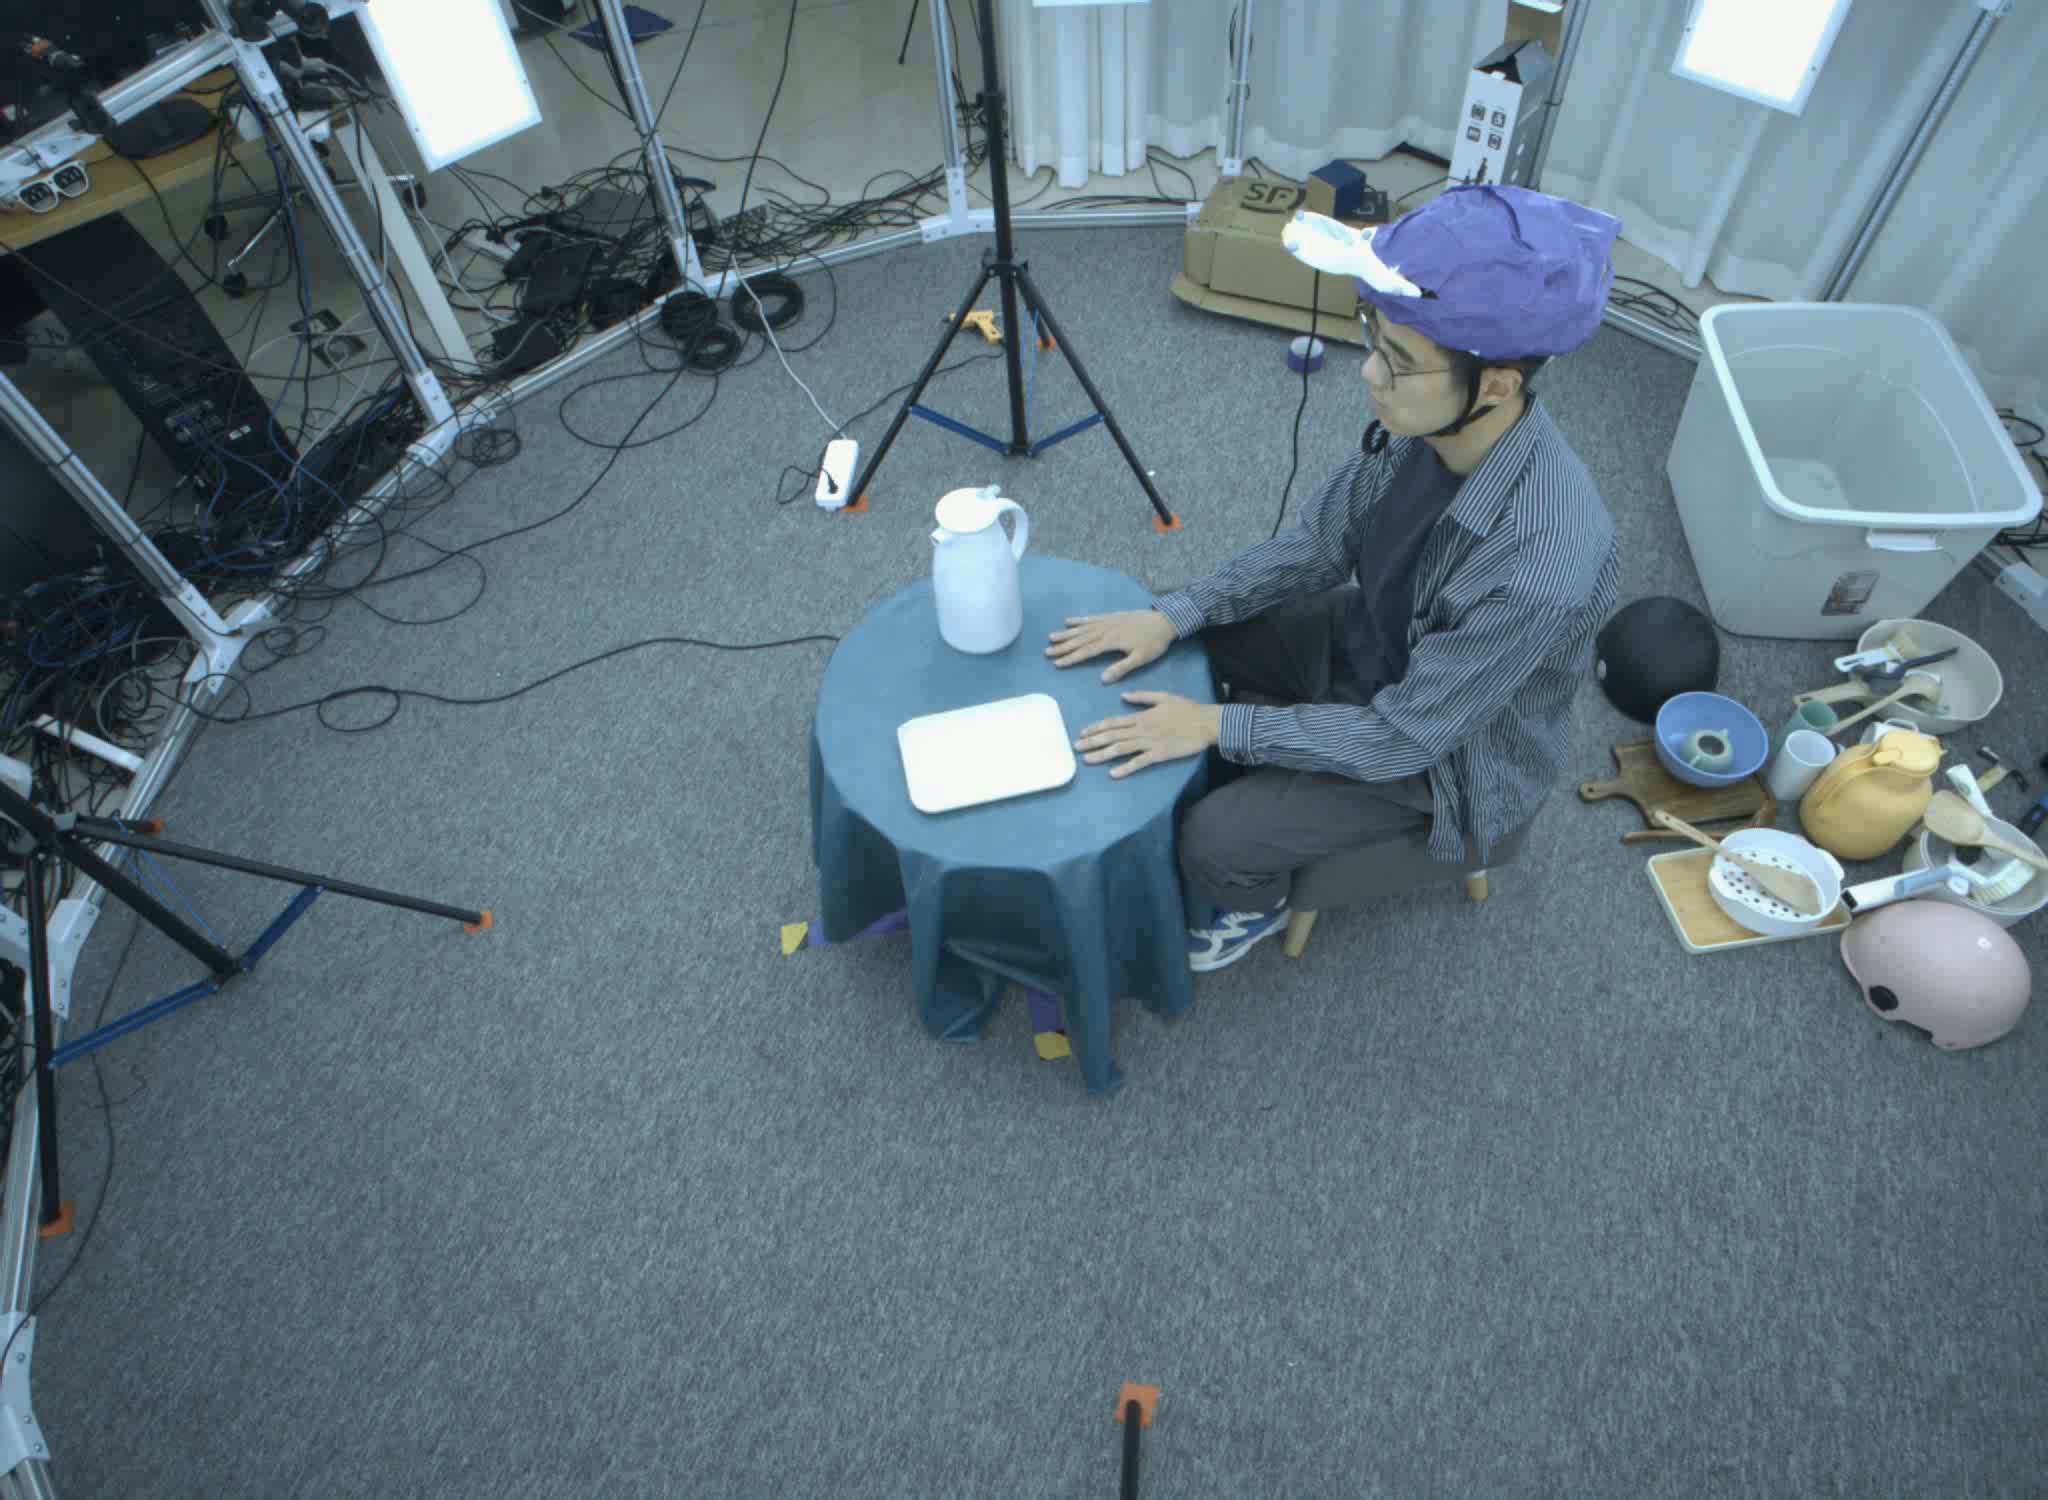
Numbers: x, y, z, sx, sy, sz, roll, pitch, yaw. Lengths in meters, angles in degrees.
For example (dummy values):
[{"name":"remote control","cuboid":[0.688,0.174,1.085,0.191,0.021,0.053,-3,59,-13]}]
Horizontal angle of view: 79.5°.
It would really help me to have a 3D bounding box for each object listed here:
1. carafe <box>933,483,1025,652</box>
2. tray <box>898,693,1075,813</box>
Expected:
[{"name":"carafe","cuboid":[-0.063,-0.288,1.843,0.130,0.251,0.169,35,63,25]},{"name":"tray","cuboid":[-0.055,0.004,1.780,0.241,0.017,0.168,-12,56,-7]}]
